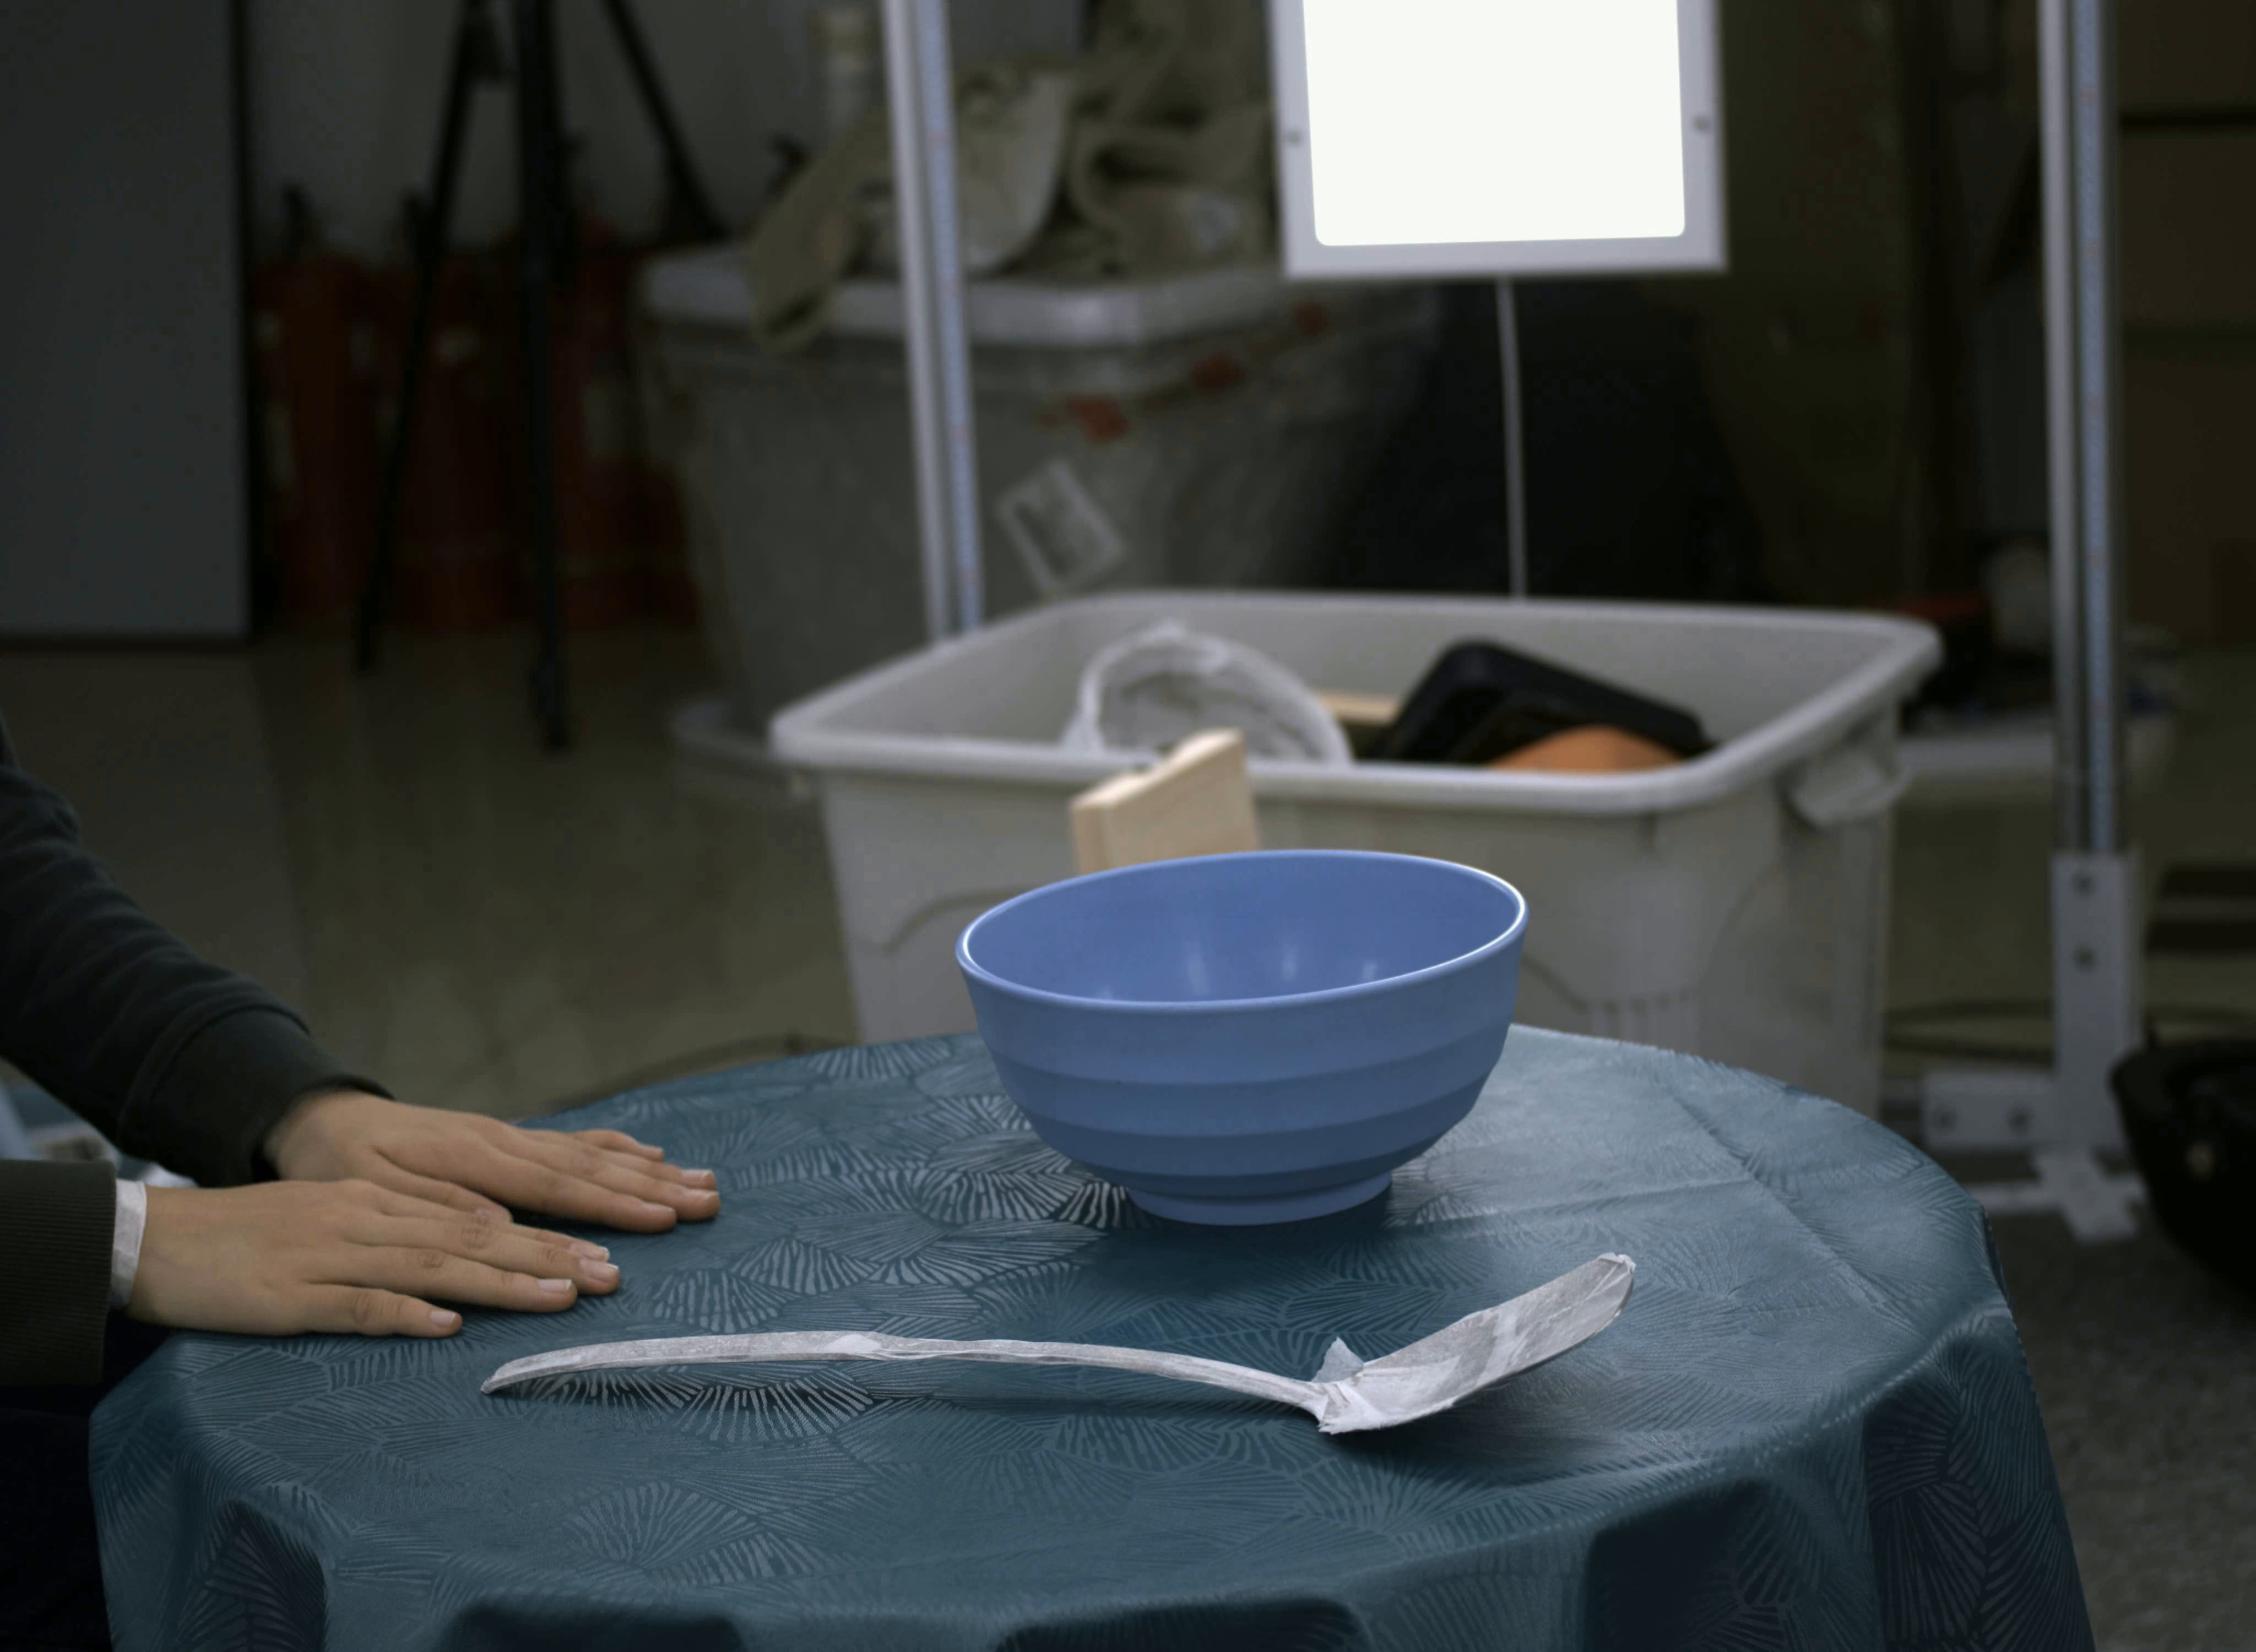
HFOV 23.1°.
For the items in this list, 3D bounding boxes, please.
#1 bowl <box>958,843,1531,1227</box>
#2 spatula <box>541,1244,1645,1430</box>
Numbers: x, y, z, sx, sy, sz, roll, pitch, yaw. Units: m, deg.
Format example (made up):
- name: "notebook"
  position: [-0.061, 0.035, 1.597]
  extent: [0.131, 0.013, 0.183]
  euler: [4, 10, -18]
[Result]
- name: "bowl"
  position: [0.043, 0.077, 1.882]
  extent: [0.196, 0.096, 0.196]
  euler: [-5, 15, 0]
- name: "spatula"
  position: [-0.020, 0.157, 1.697]
  extent: [0.369, 0.045, 0.097]
  euler: [0, 16, 20]
